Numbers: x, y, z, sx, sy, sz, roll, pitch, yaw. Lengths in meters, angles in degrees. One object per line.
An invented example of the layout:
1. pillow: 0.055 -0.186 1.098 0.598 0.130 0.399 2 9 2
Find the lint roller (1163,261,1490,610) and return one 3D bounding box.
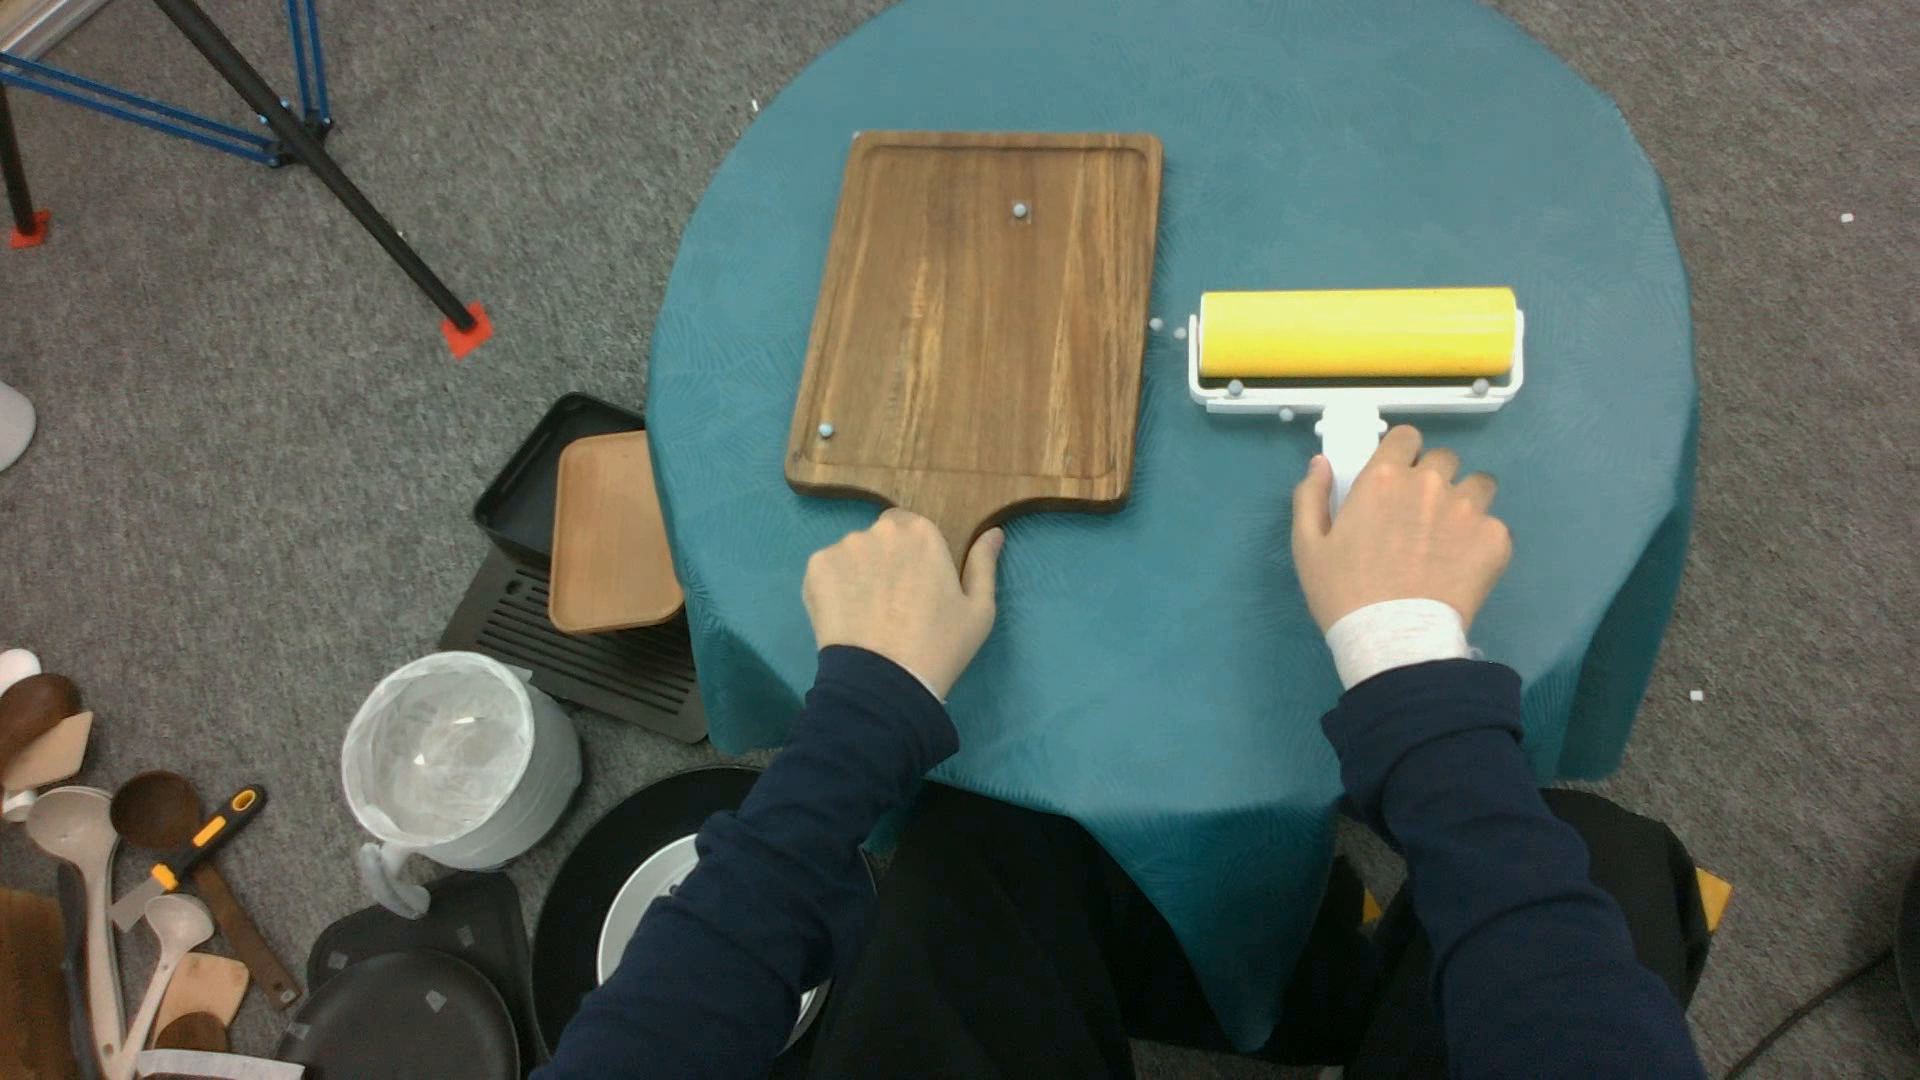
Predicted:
1. lint roller: 0.197 -0.060 0.730 0.174 0.051 0.193 -1 64 8

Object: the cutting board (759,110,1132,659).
1. cutting board: -0.009 -0.102 0.787 0.201 0.023 0.353 3 67 9
